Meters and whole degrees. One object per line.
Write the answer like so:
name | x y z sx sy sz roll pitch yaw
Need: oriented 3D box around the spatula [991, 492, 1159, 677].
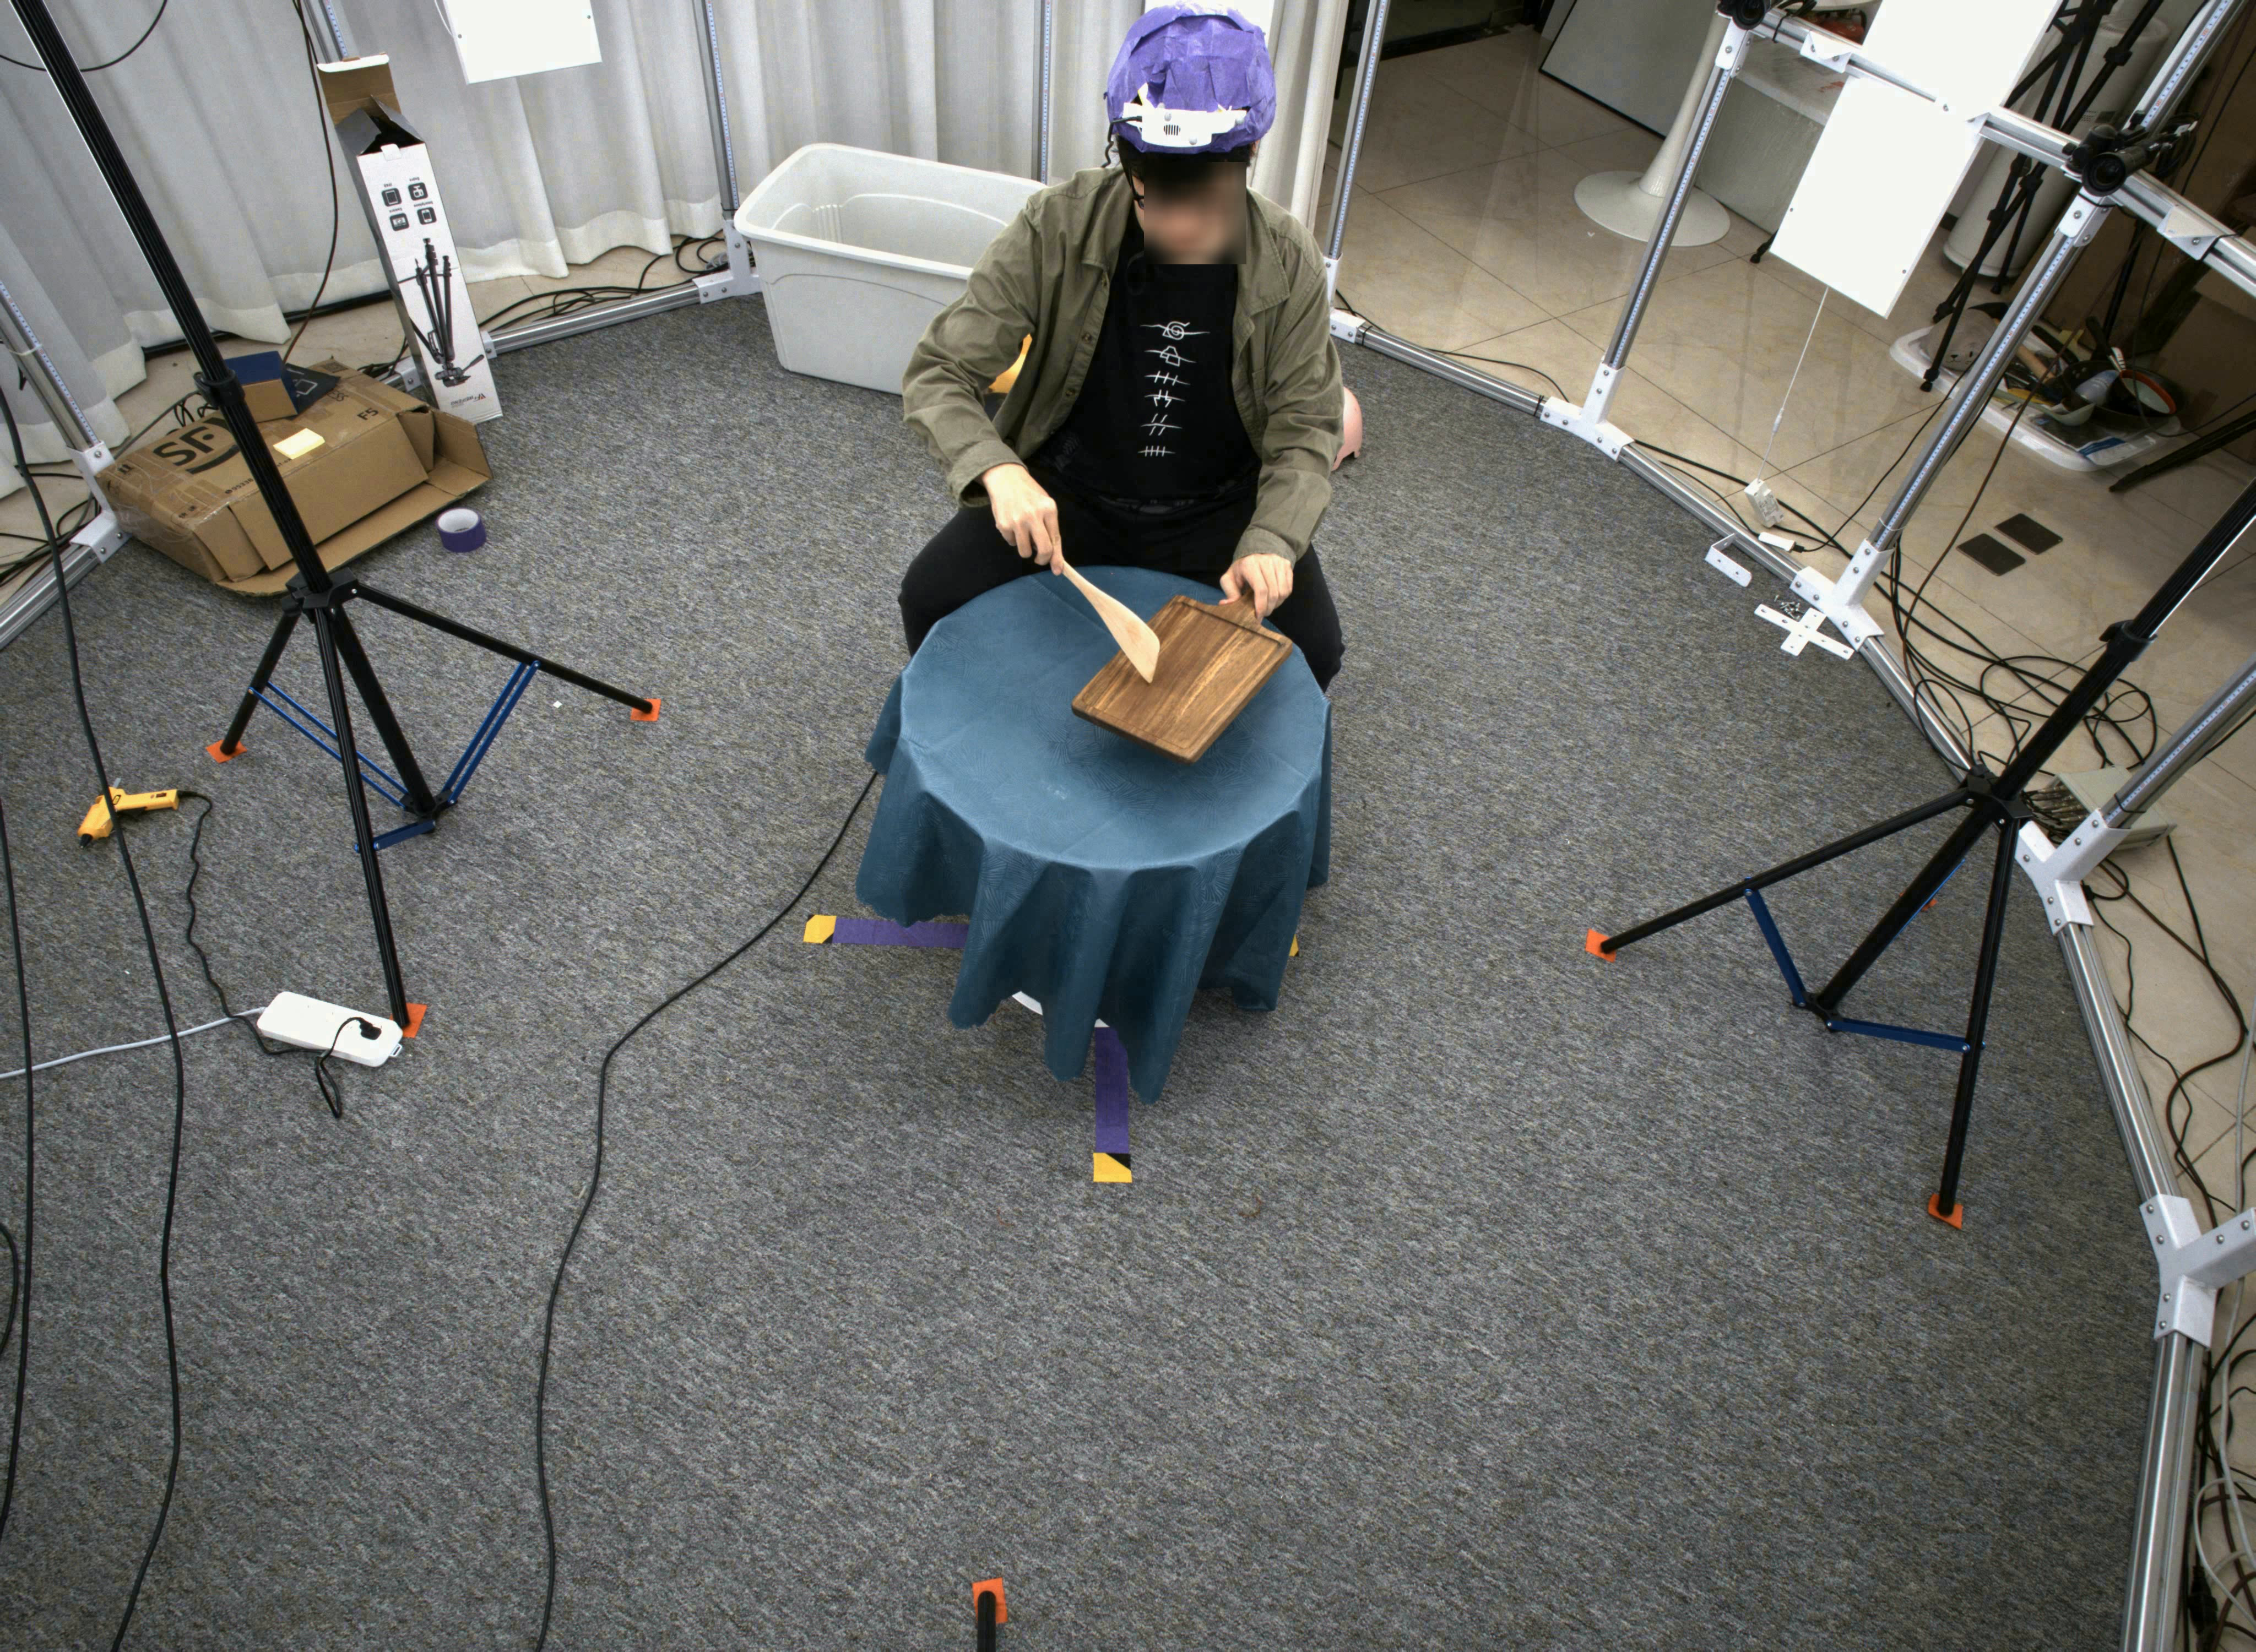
spatula | -0.071 -0.330 1.705 0.330 0.078 0.017 45 58 12

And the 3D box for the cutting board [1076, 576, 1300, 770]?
cutting board | 0.110 -0.227 1.723 0.203 0.022 0.356 27 58 28
